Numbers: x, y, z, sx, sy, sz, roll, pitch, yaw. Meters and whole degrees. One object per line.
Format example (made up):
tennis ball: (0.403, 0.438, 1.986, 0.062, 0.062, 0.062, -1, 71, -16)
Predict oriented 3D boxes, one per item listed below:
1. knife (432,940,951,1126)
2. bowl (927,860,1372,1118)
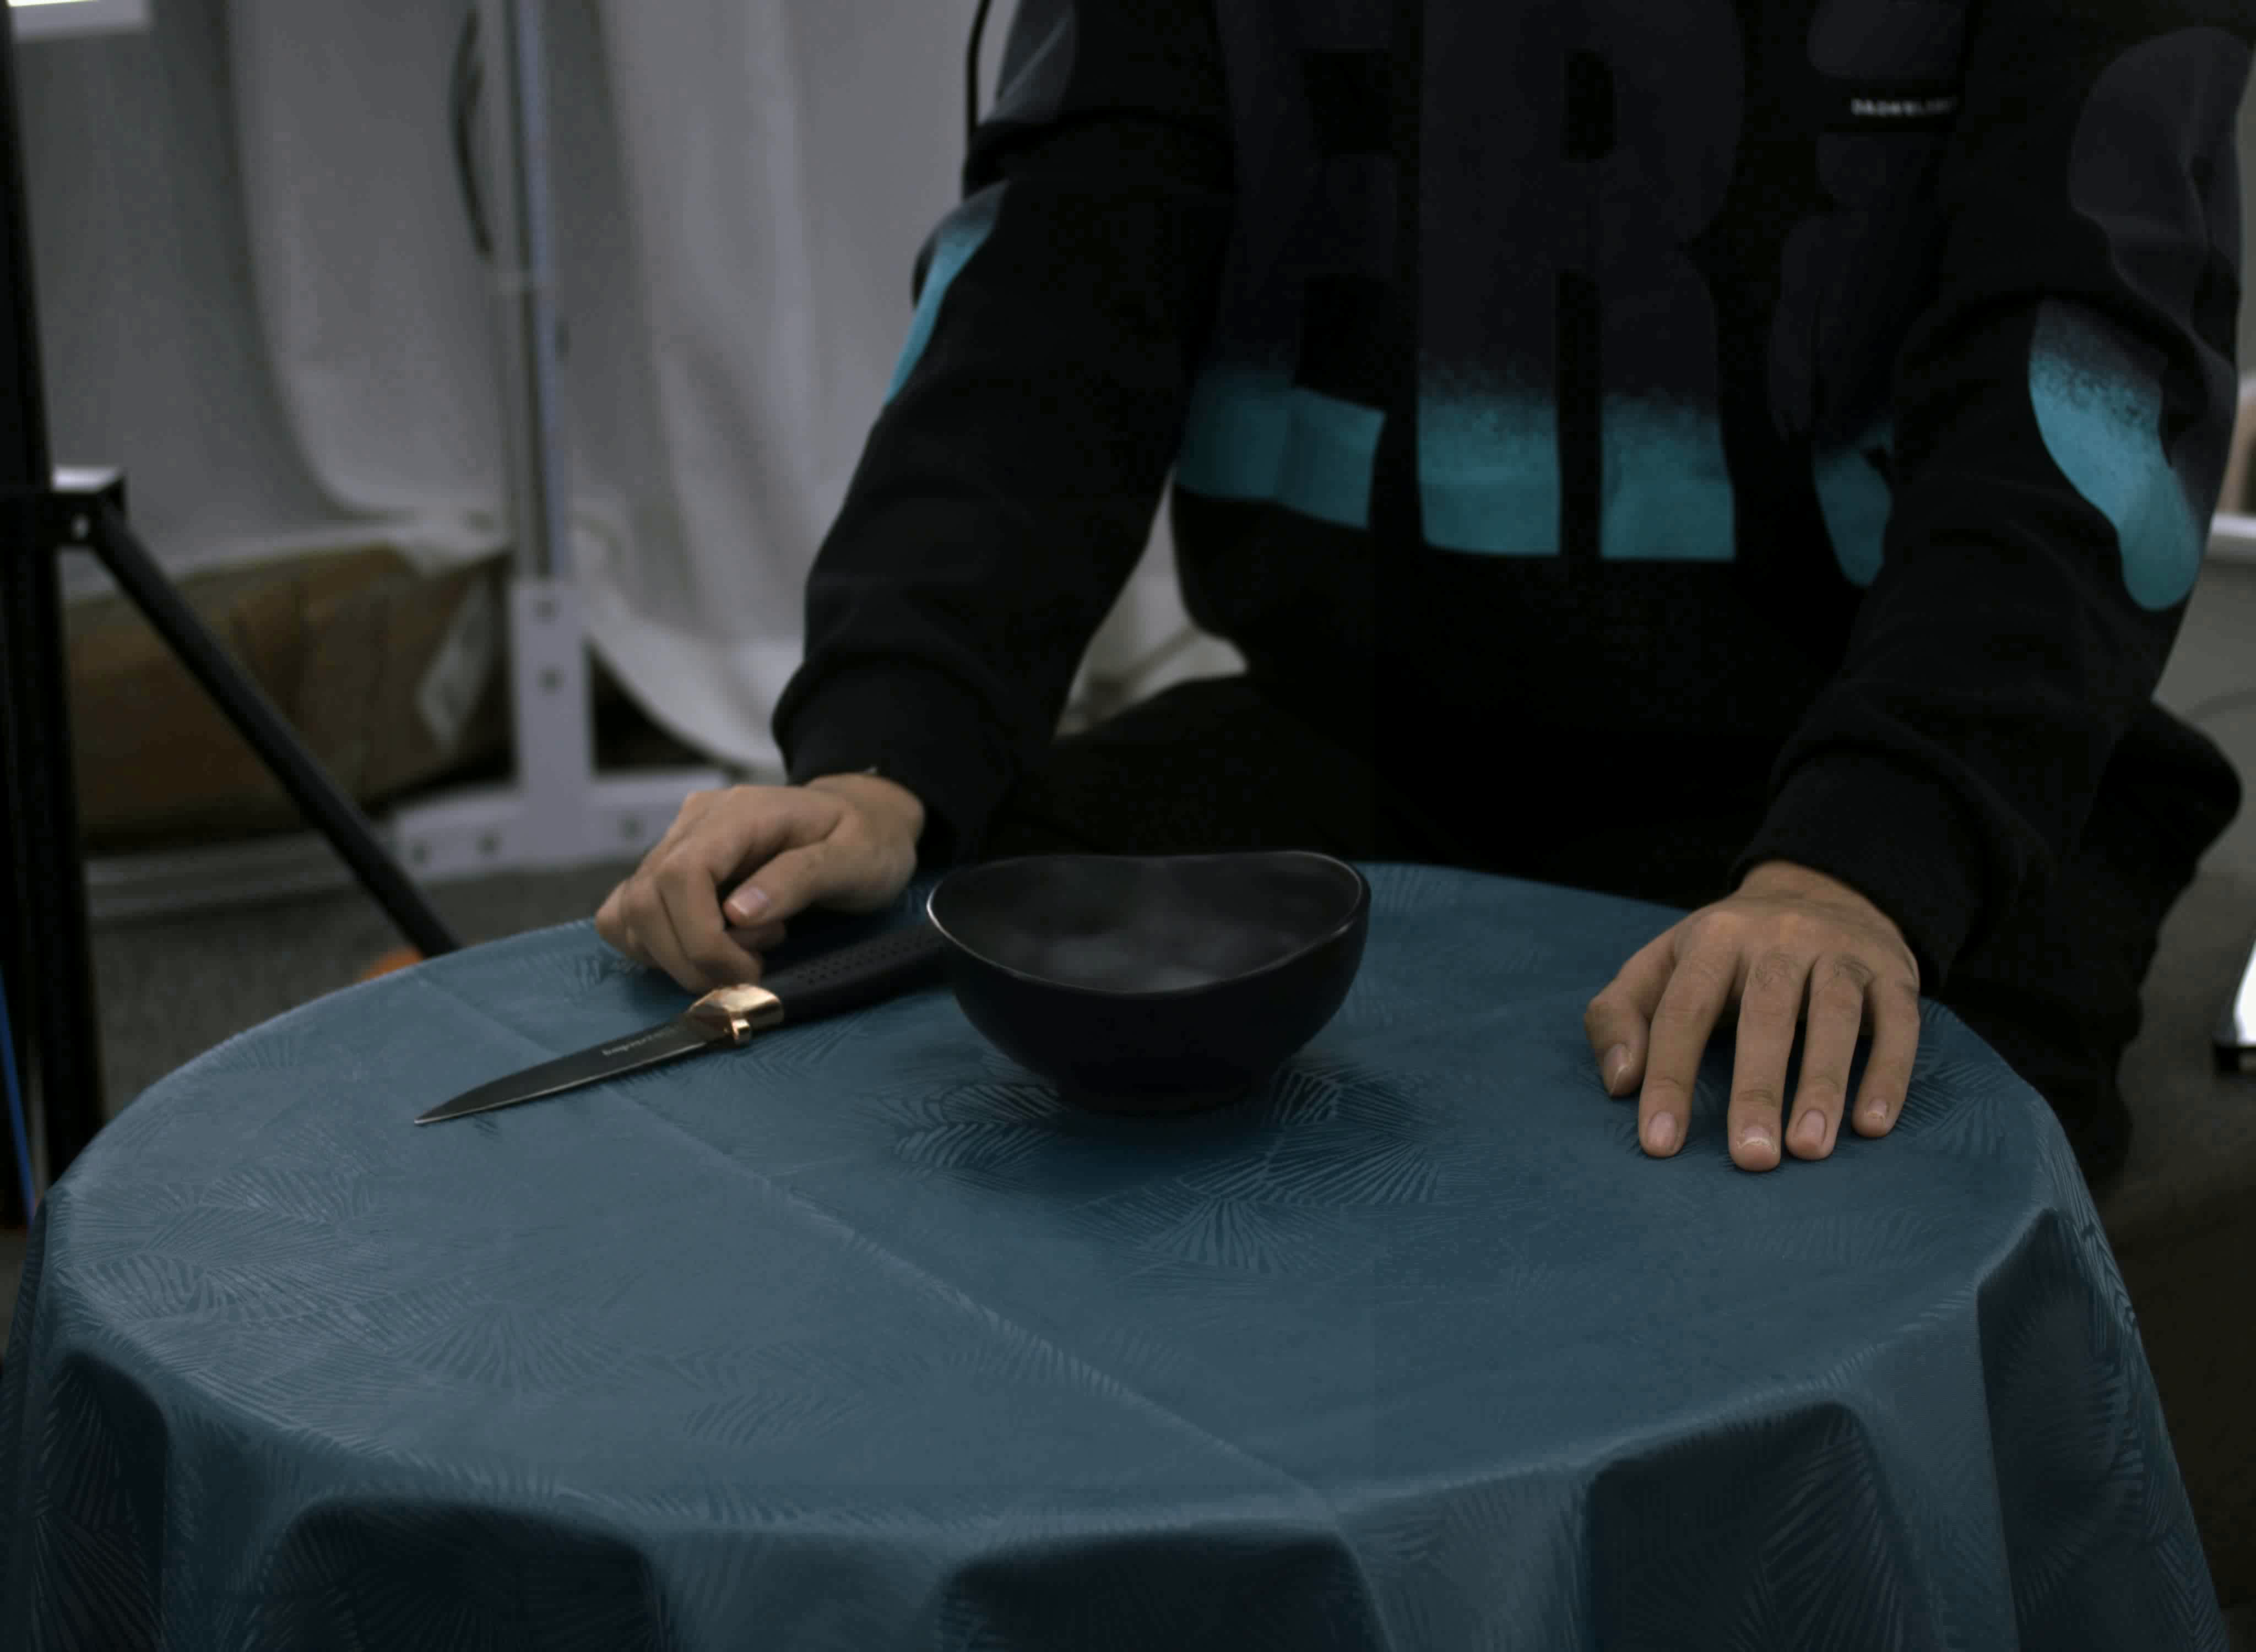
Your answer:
knife: (-0.133, 0.066, 1.708, 0.220, 0.017, 0.027, -16, 17, -37)
bowl: (0.008, 0.051, 1.641, 0.137, 0.067, 0.170, -1, 13, 4)
